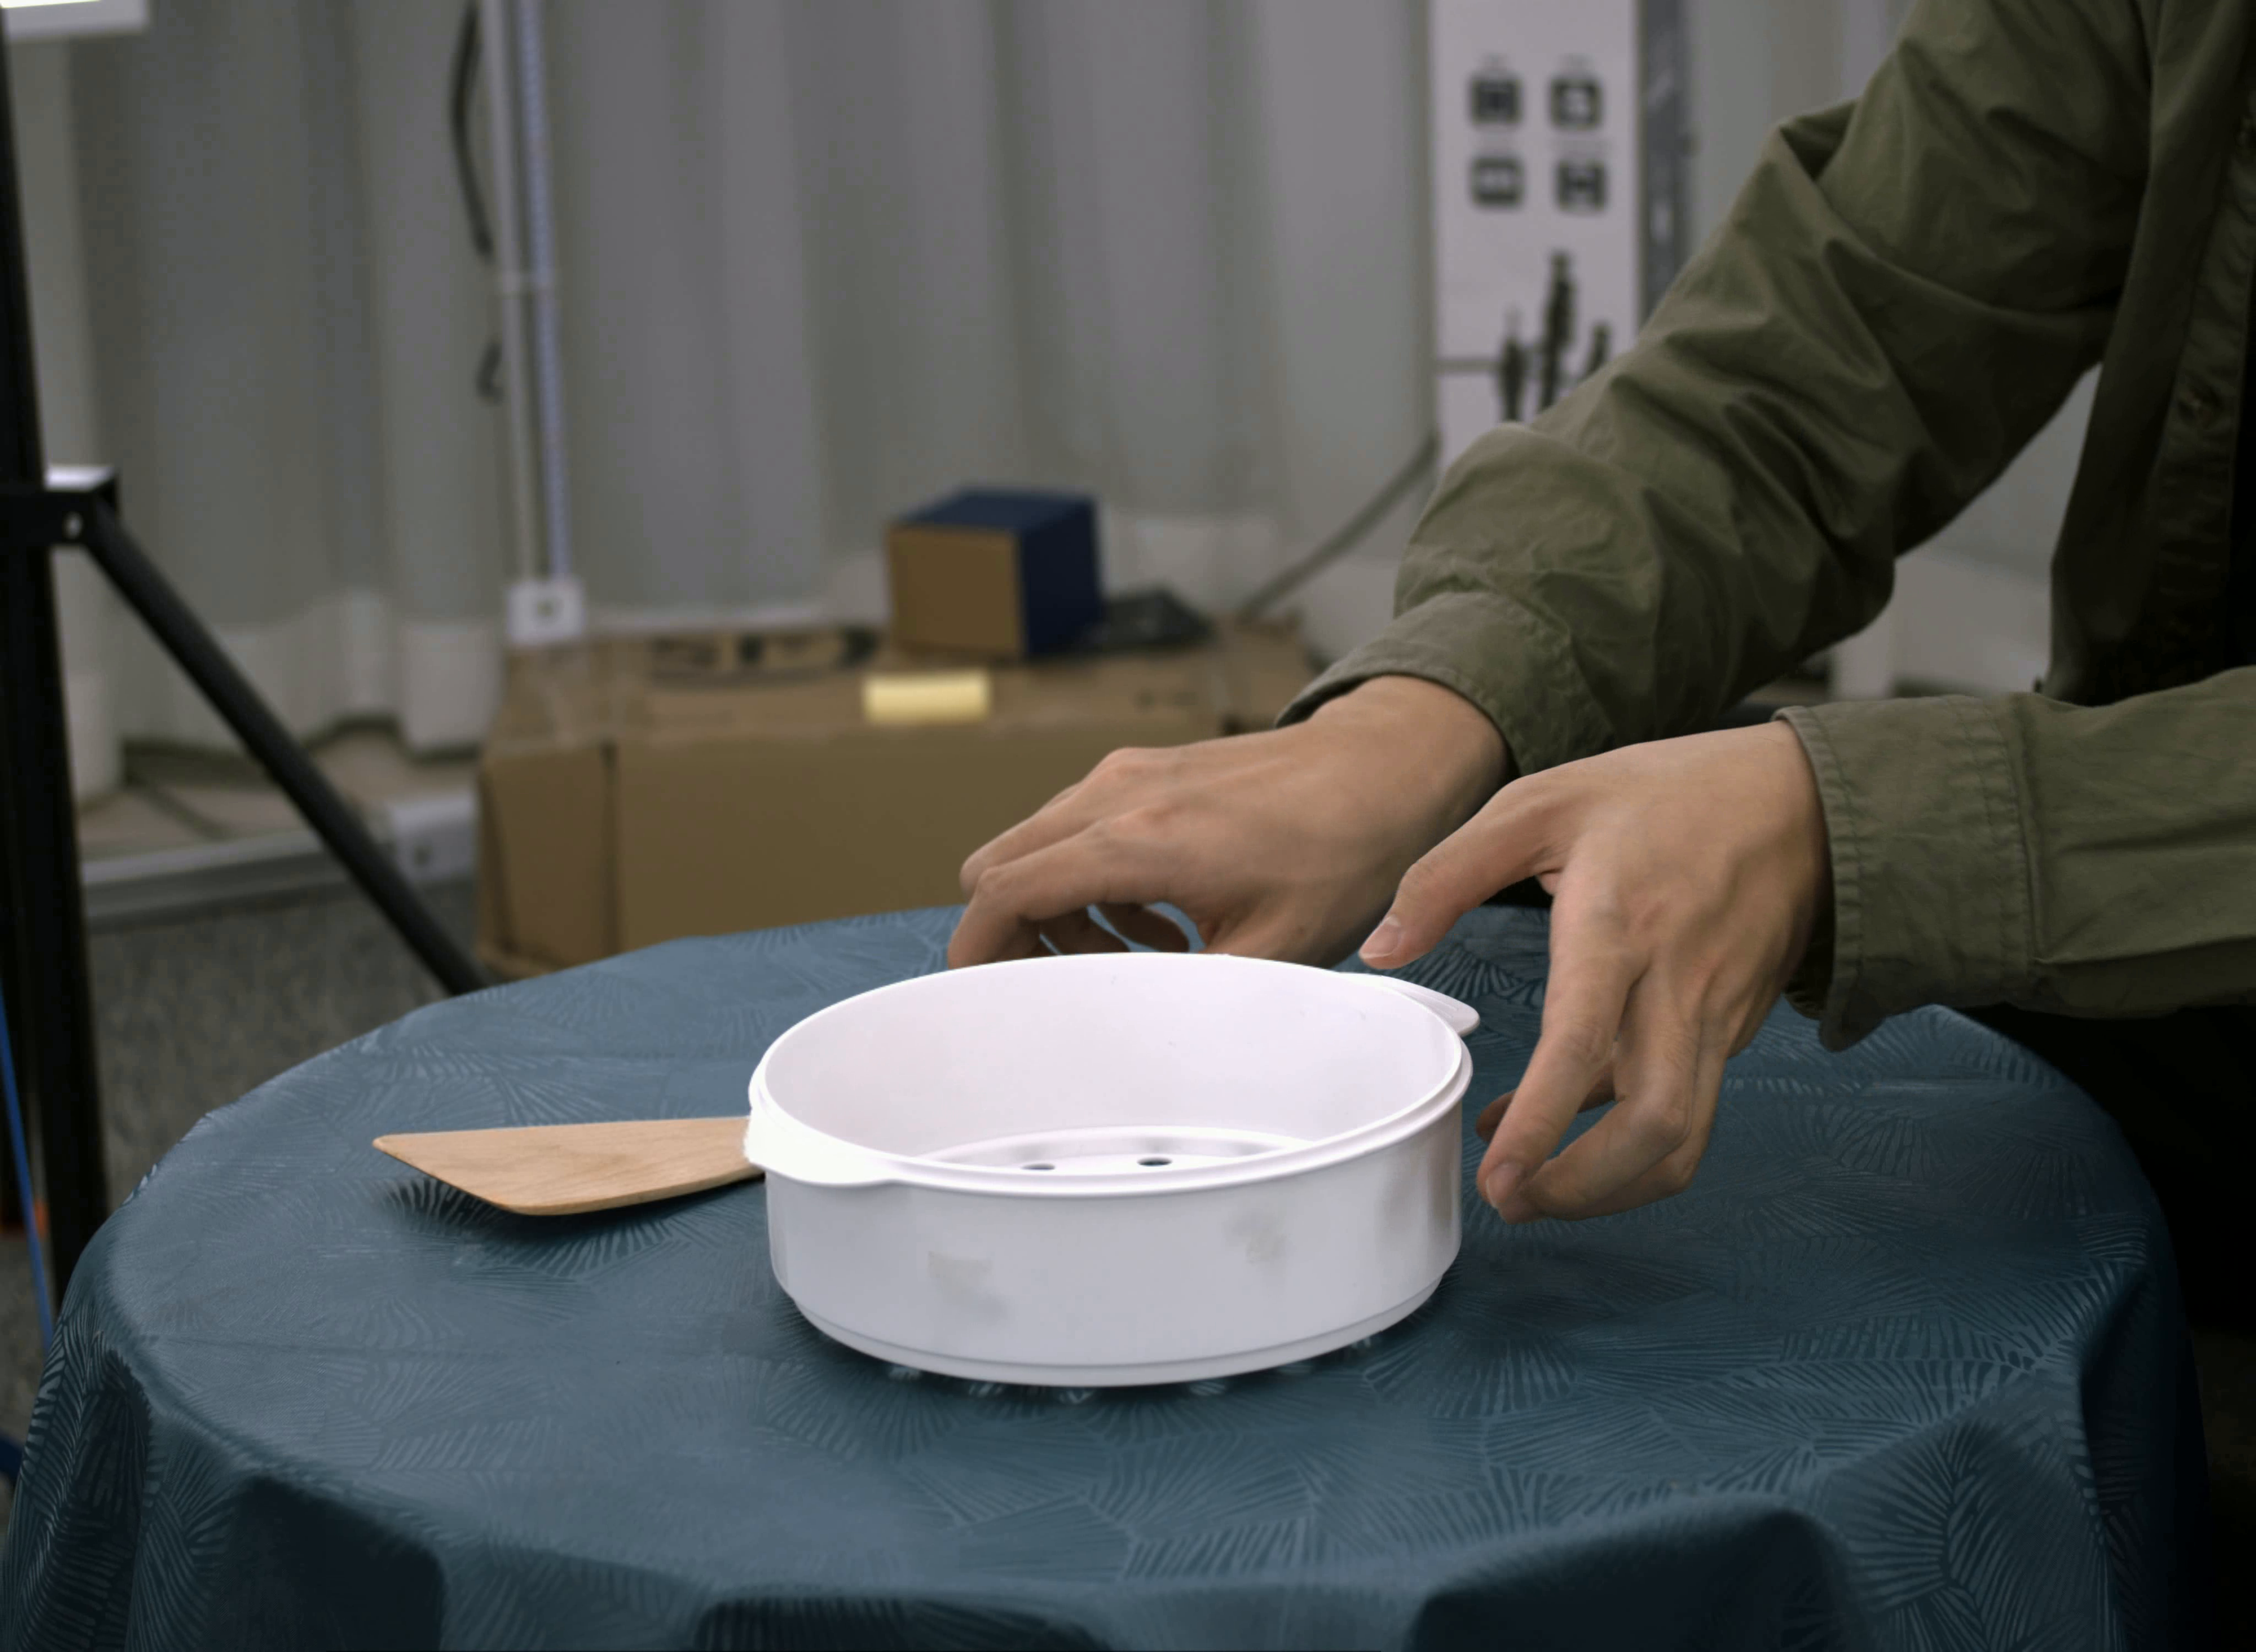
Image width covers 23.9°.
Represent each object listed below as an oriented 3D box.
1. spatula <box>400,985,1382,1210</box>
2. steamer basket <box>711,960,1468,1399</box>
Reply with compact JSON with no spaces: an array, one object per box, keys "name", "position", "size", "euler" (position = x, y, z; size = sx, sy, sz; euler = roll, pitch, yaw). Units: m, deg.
[{"name":"spatula","position":[-0.060,0.080,1.638],"size":[0.320,0.016,0.081],"euler":[-11,18,-27]},{"name":"steamer basket","position":[-0.008,0.098,1.482],"size":[0.225,0.069,0.206],"euler":[-11,18,-31]}]
